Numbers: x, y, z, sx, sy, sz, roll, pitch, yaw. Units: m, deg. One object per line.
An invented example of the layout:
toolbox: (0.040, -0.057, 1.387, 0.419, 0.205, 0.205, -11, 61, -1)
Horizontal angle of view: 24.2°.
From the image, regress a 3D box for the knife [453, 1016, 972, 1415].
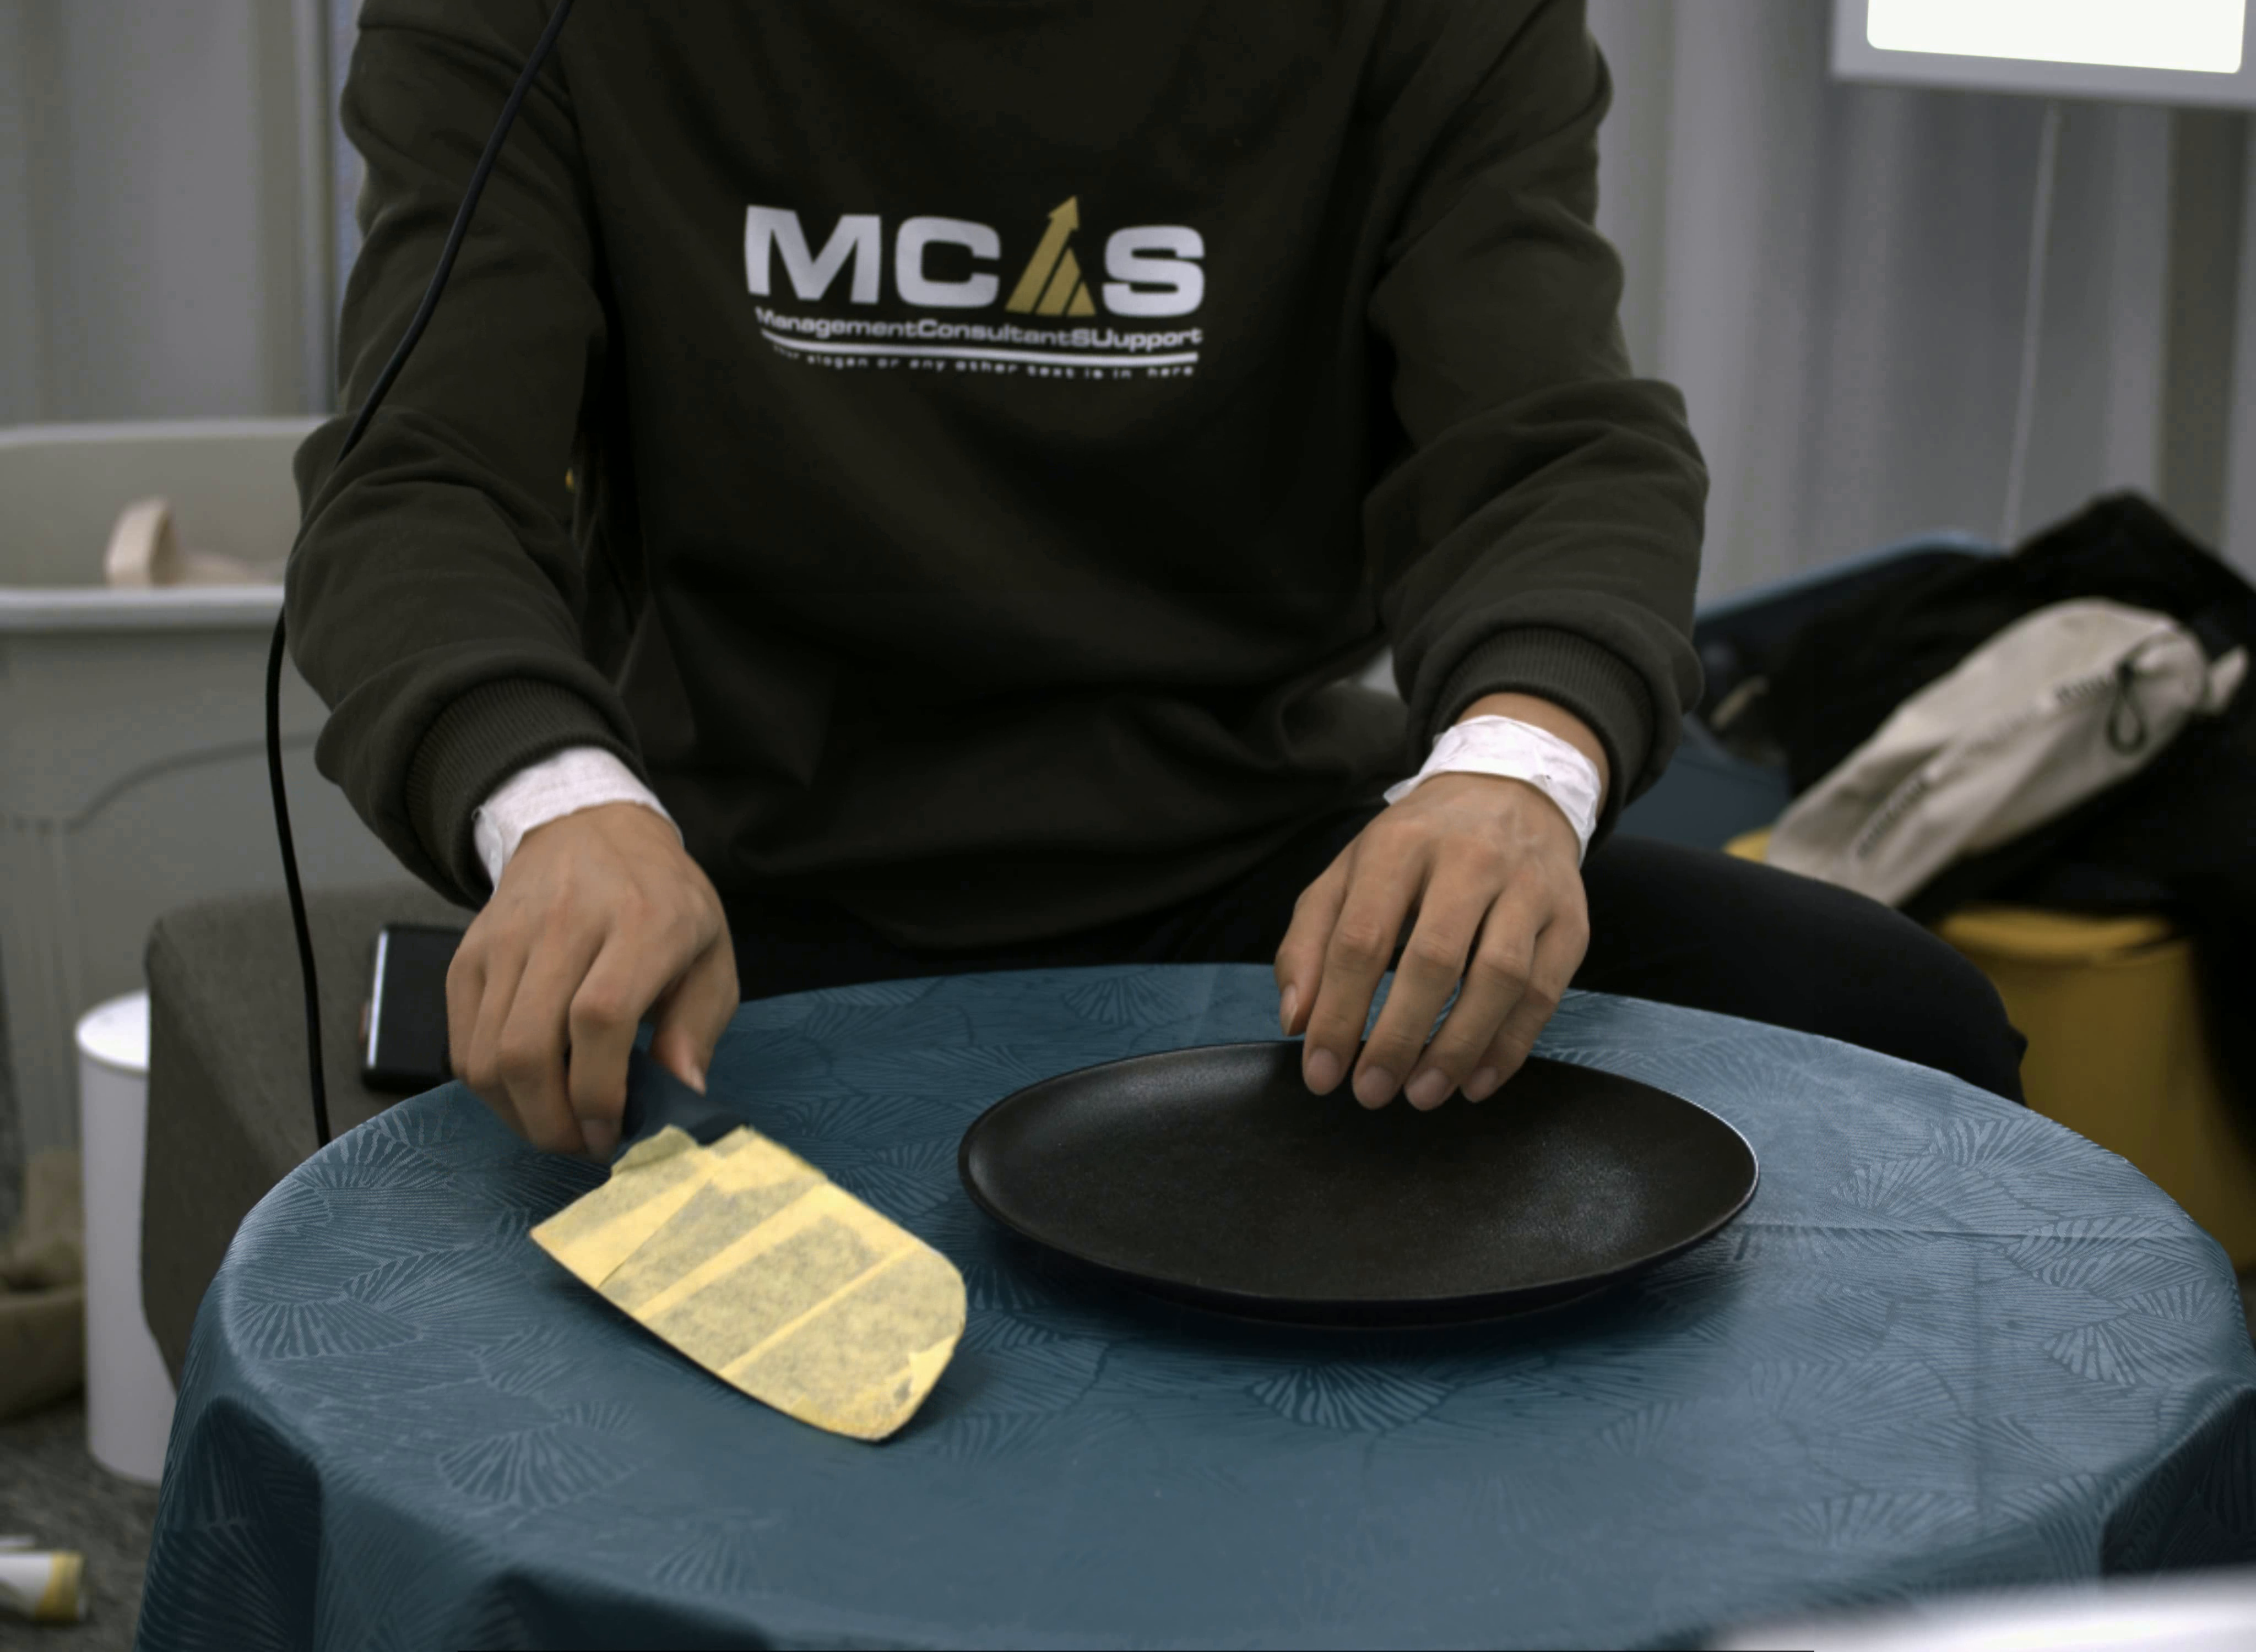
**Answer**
knife: (-0.134, 0.113, 1.538, 0.081, 0.027, 0.285, -27, 31, -25)

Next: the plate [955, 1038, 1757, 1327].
plate: (0.068, 0.110, 1.592, 0.243, 0.023, 0.243, 1, 15, 0)
